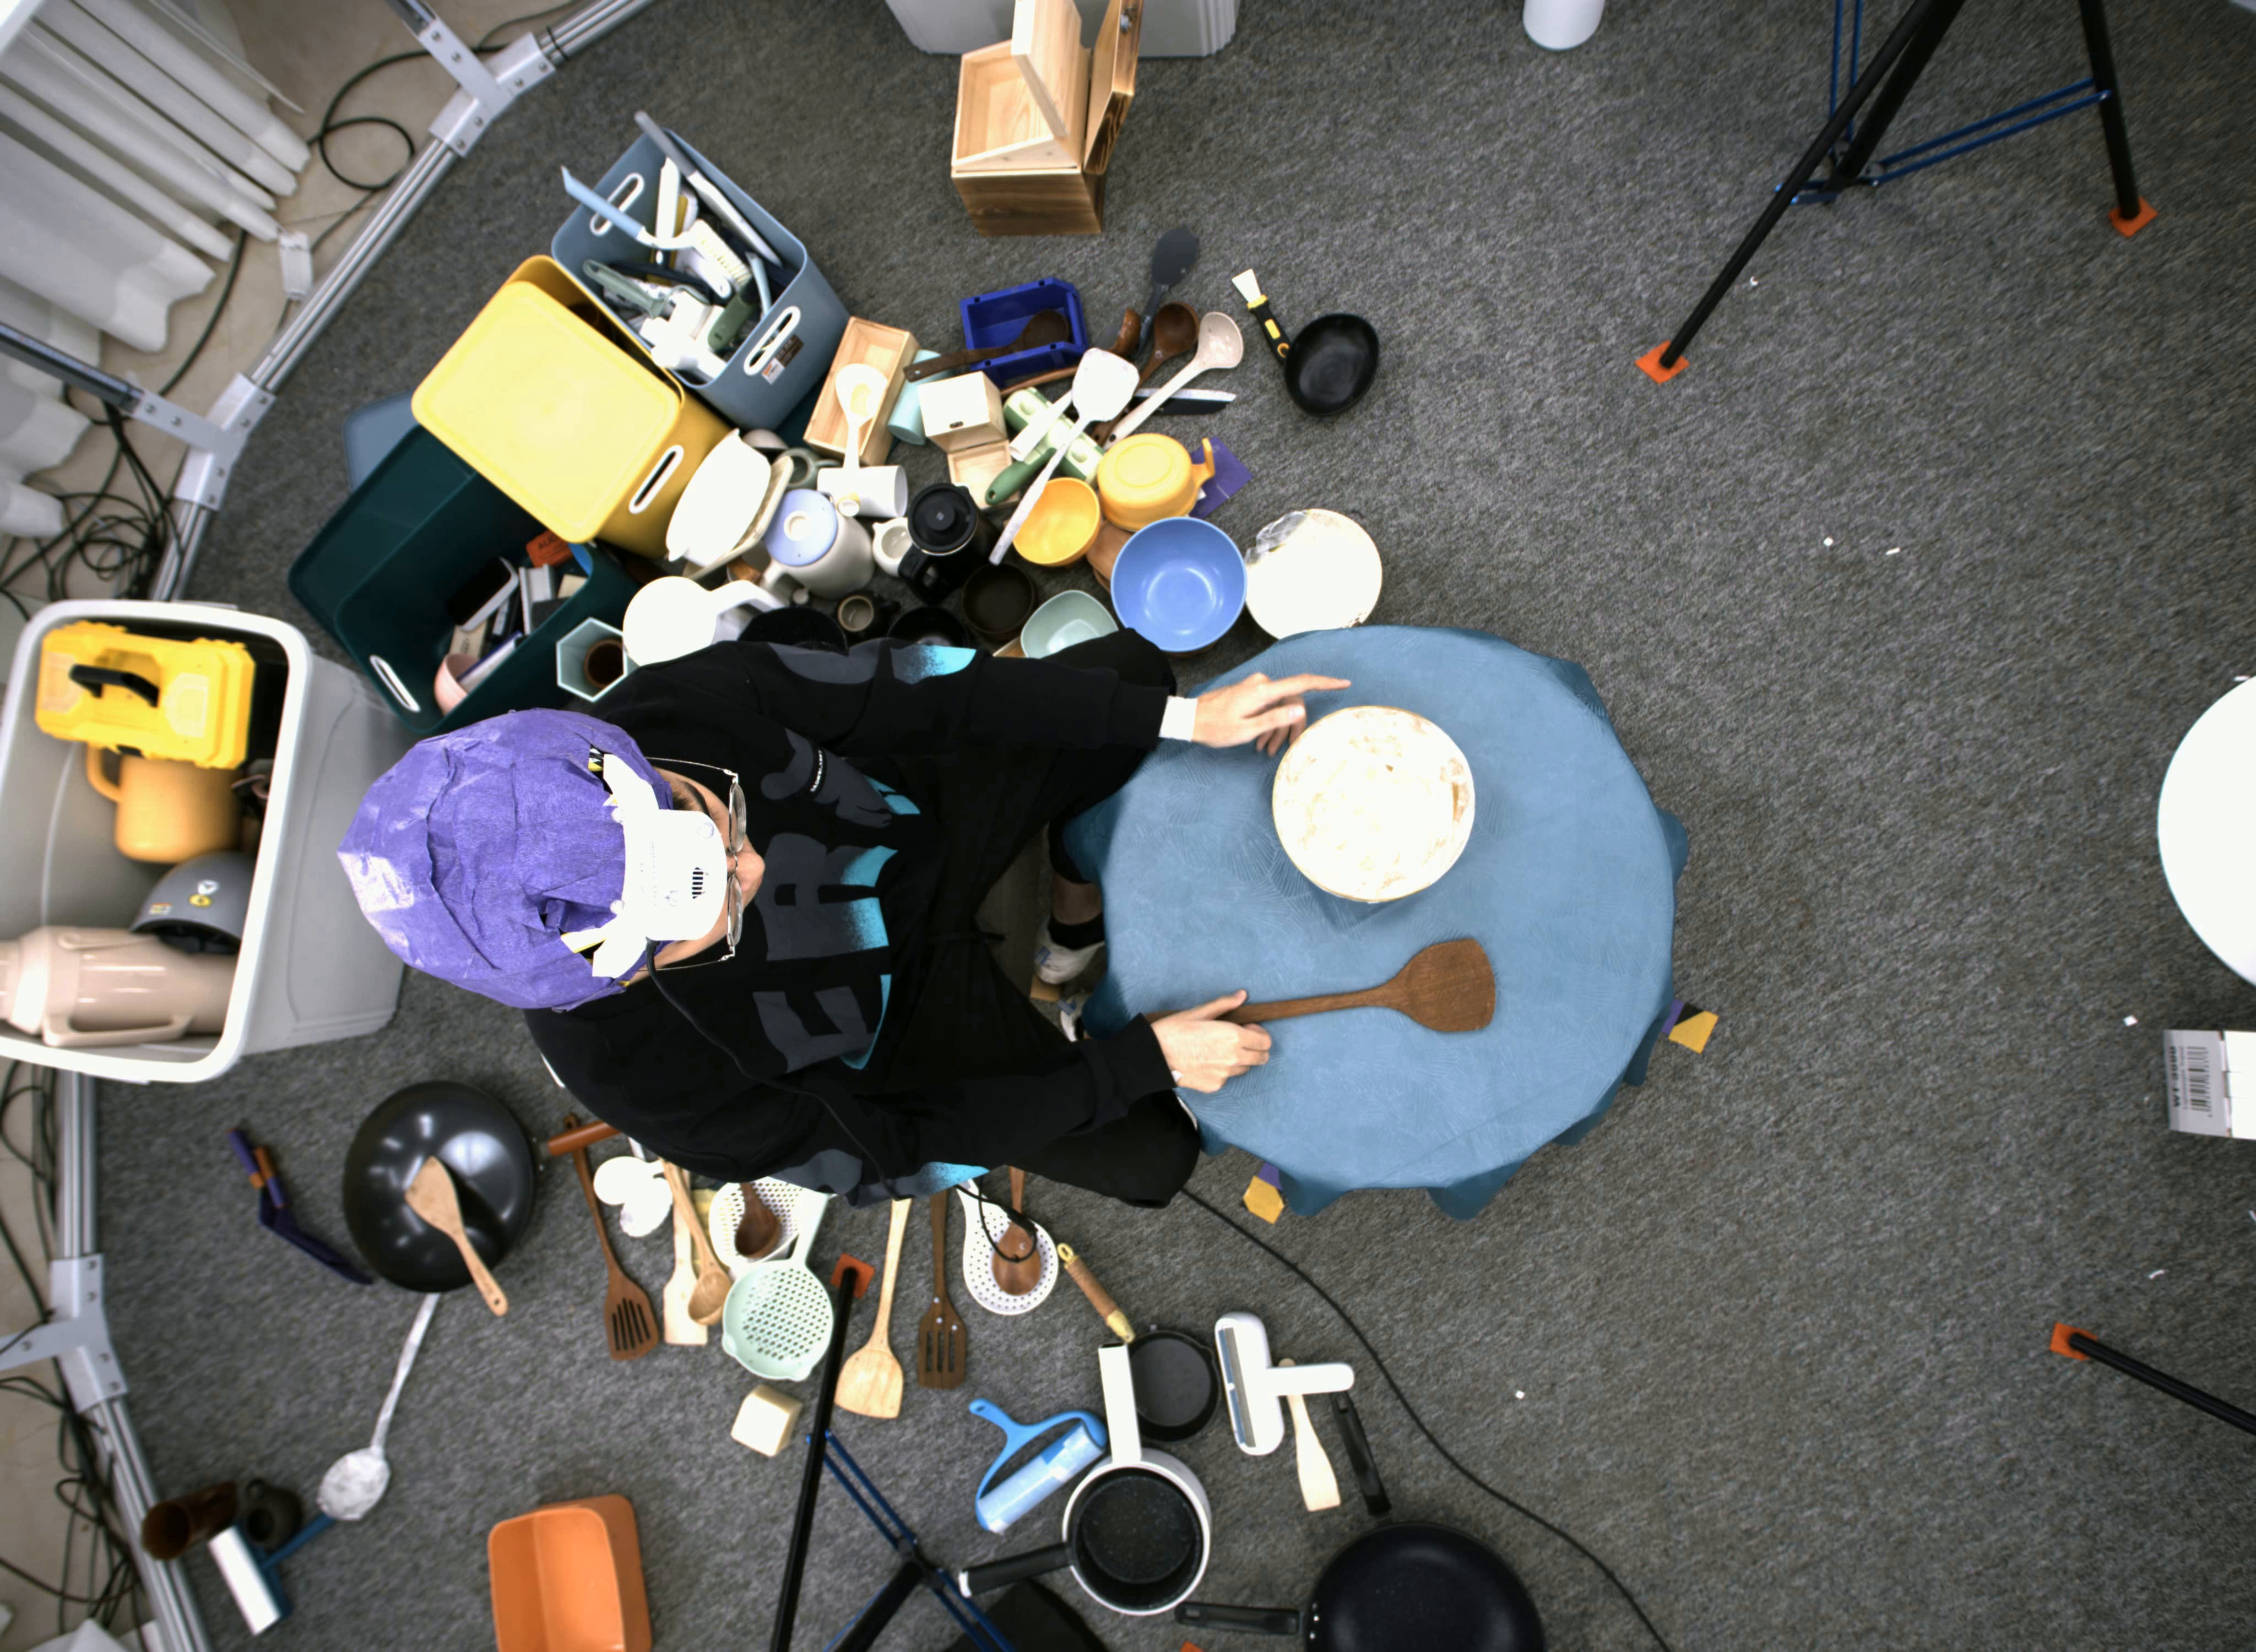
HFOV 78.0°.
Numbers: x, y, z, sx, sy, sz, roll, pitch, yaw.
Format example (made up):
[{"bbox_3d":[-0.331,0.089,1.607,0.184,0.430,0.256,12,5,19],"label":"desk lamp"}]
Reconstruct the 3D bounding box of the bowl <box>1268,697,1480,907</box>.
[{"bbox_3d":[0.253,-0.021,1.426,0.215,0.094,0.214,-1,87,11],"label":"bowl"}]

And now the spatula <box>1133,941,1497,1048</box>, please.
[{"bbox_3d":[0.193,0.193,1.463,0.388,0.016,0.095,-10,84,10],"label":"spatula"}]
